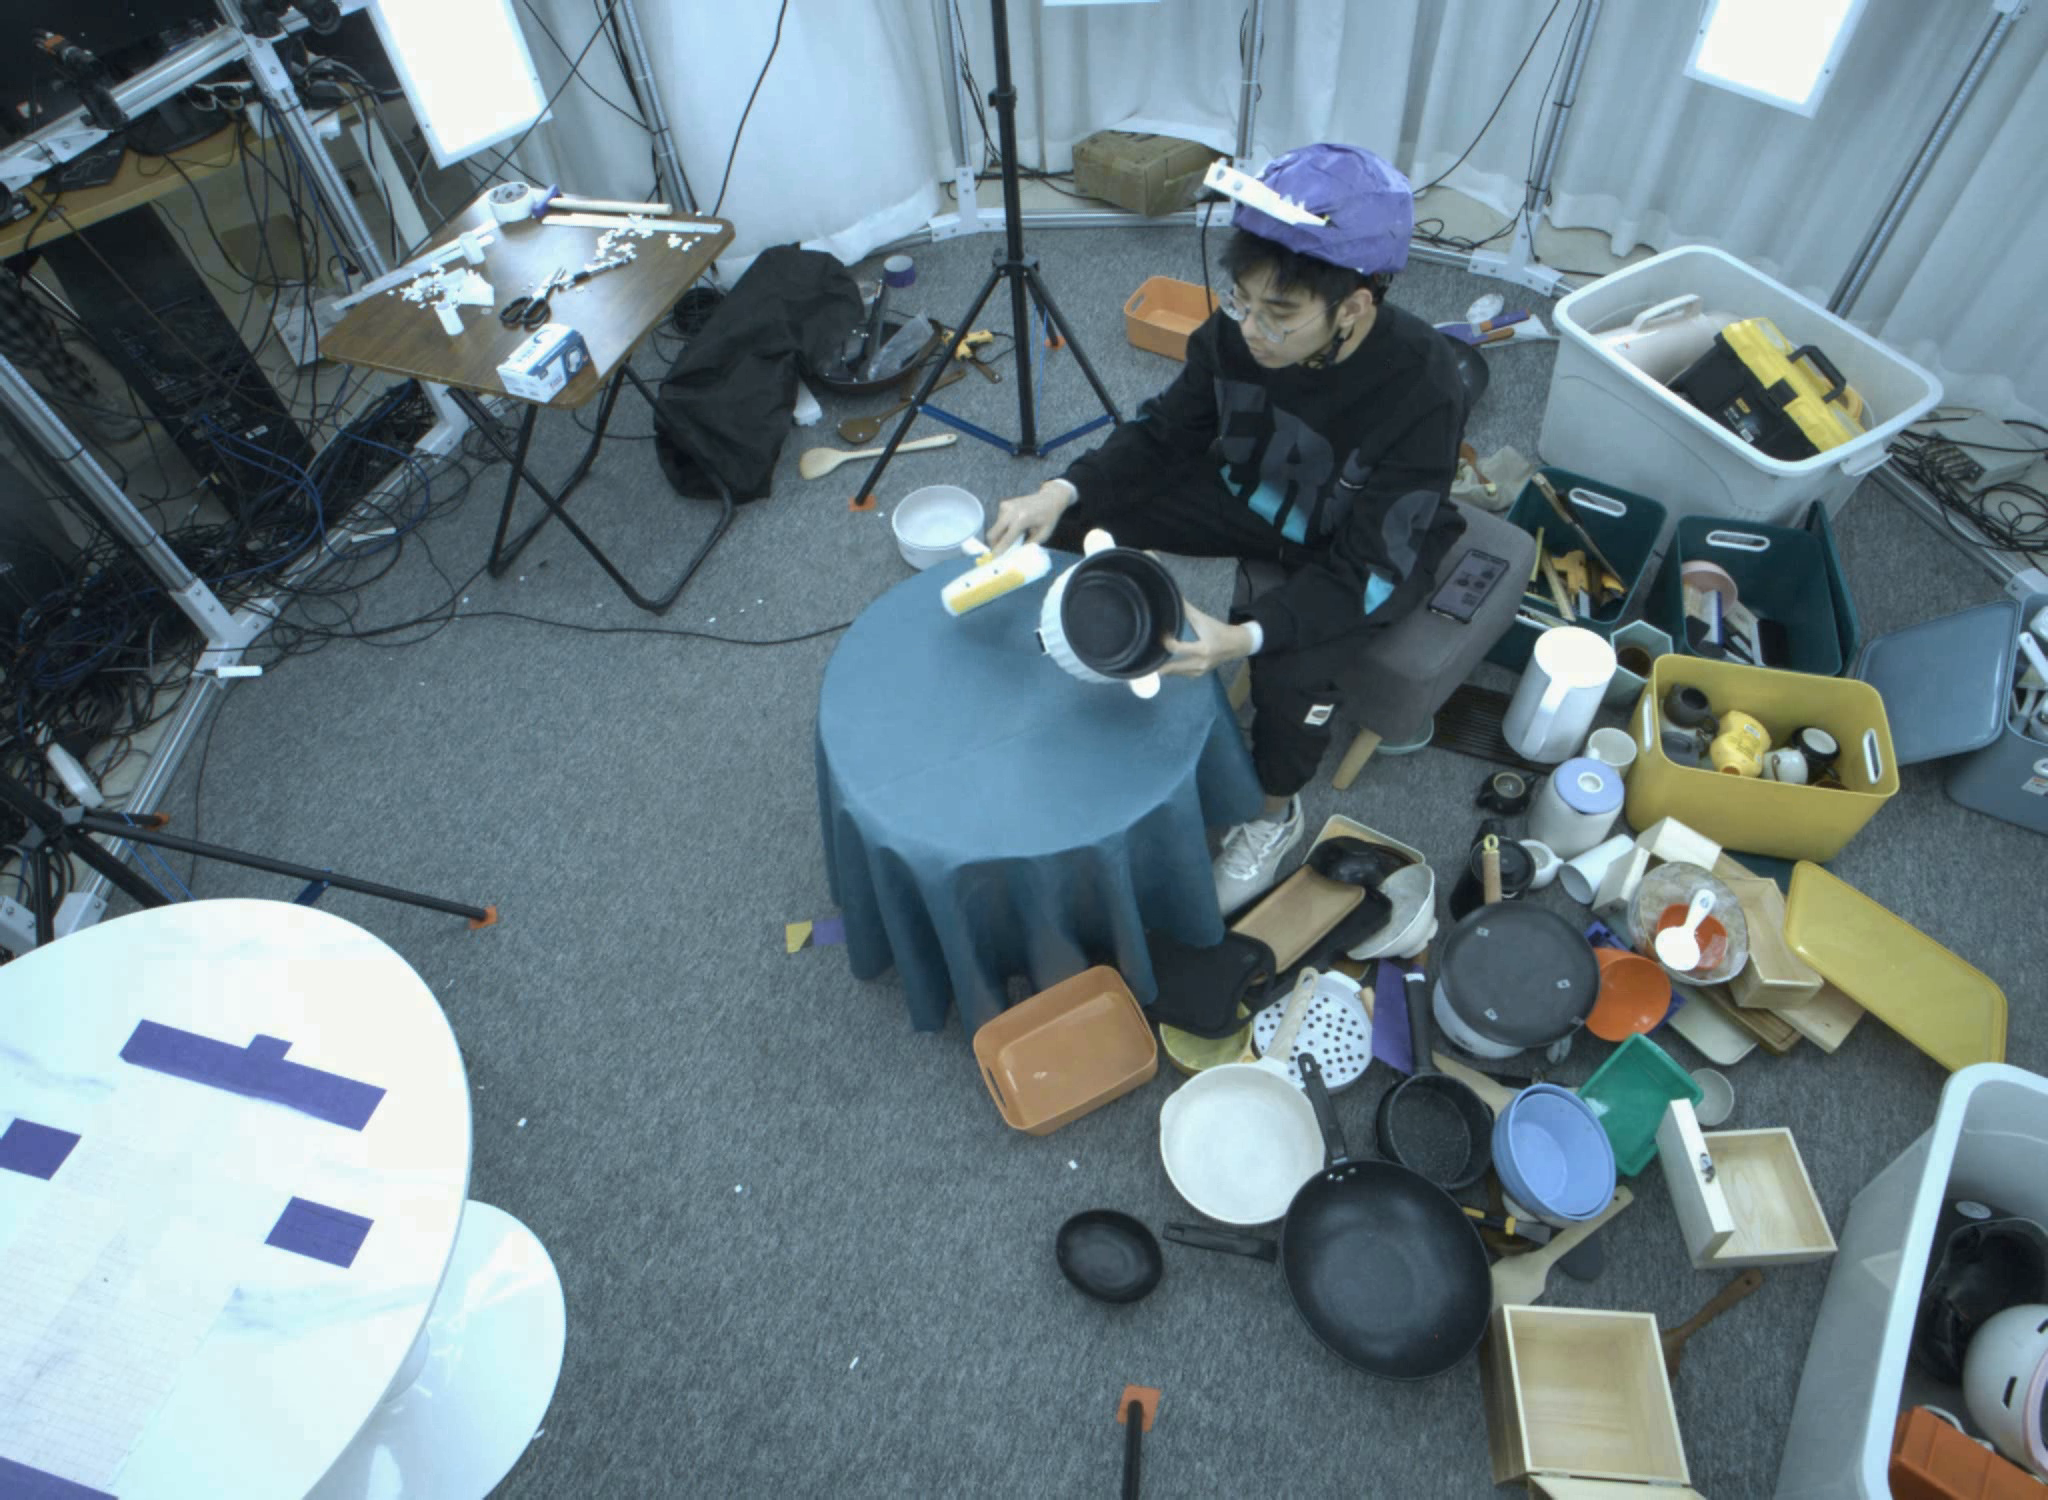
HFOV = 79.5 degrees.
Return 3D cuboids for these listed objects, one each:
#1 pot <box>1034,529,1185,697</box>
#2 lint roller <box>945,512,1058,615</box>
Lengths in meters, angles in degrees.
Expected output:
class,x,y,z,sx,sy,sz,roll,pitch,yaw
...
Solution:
class,x,y,z,sx,sy,sz,roll,pitch,yaw
pot,0.120,-0.187,1.725,0.192,0.141,0.241,-21,97,-15
lint roller,-0.024,-0.297,1.874,0.190,0.075,0.192,-25,24,35
